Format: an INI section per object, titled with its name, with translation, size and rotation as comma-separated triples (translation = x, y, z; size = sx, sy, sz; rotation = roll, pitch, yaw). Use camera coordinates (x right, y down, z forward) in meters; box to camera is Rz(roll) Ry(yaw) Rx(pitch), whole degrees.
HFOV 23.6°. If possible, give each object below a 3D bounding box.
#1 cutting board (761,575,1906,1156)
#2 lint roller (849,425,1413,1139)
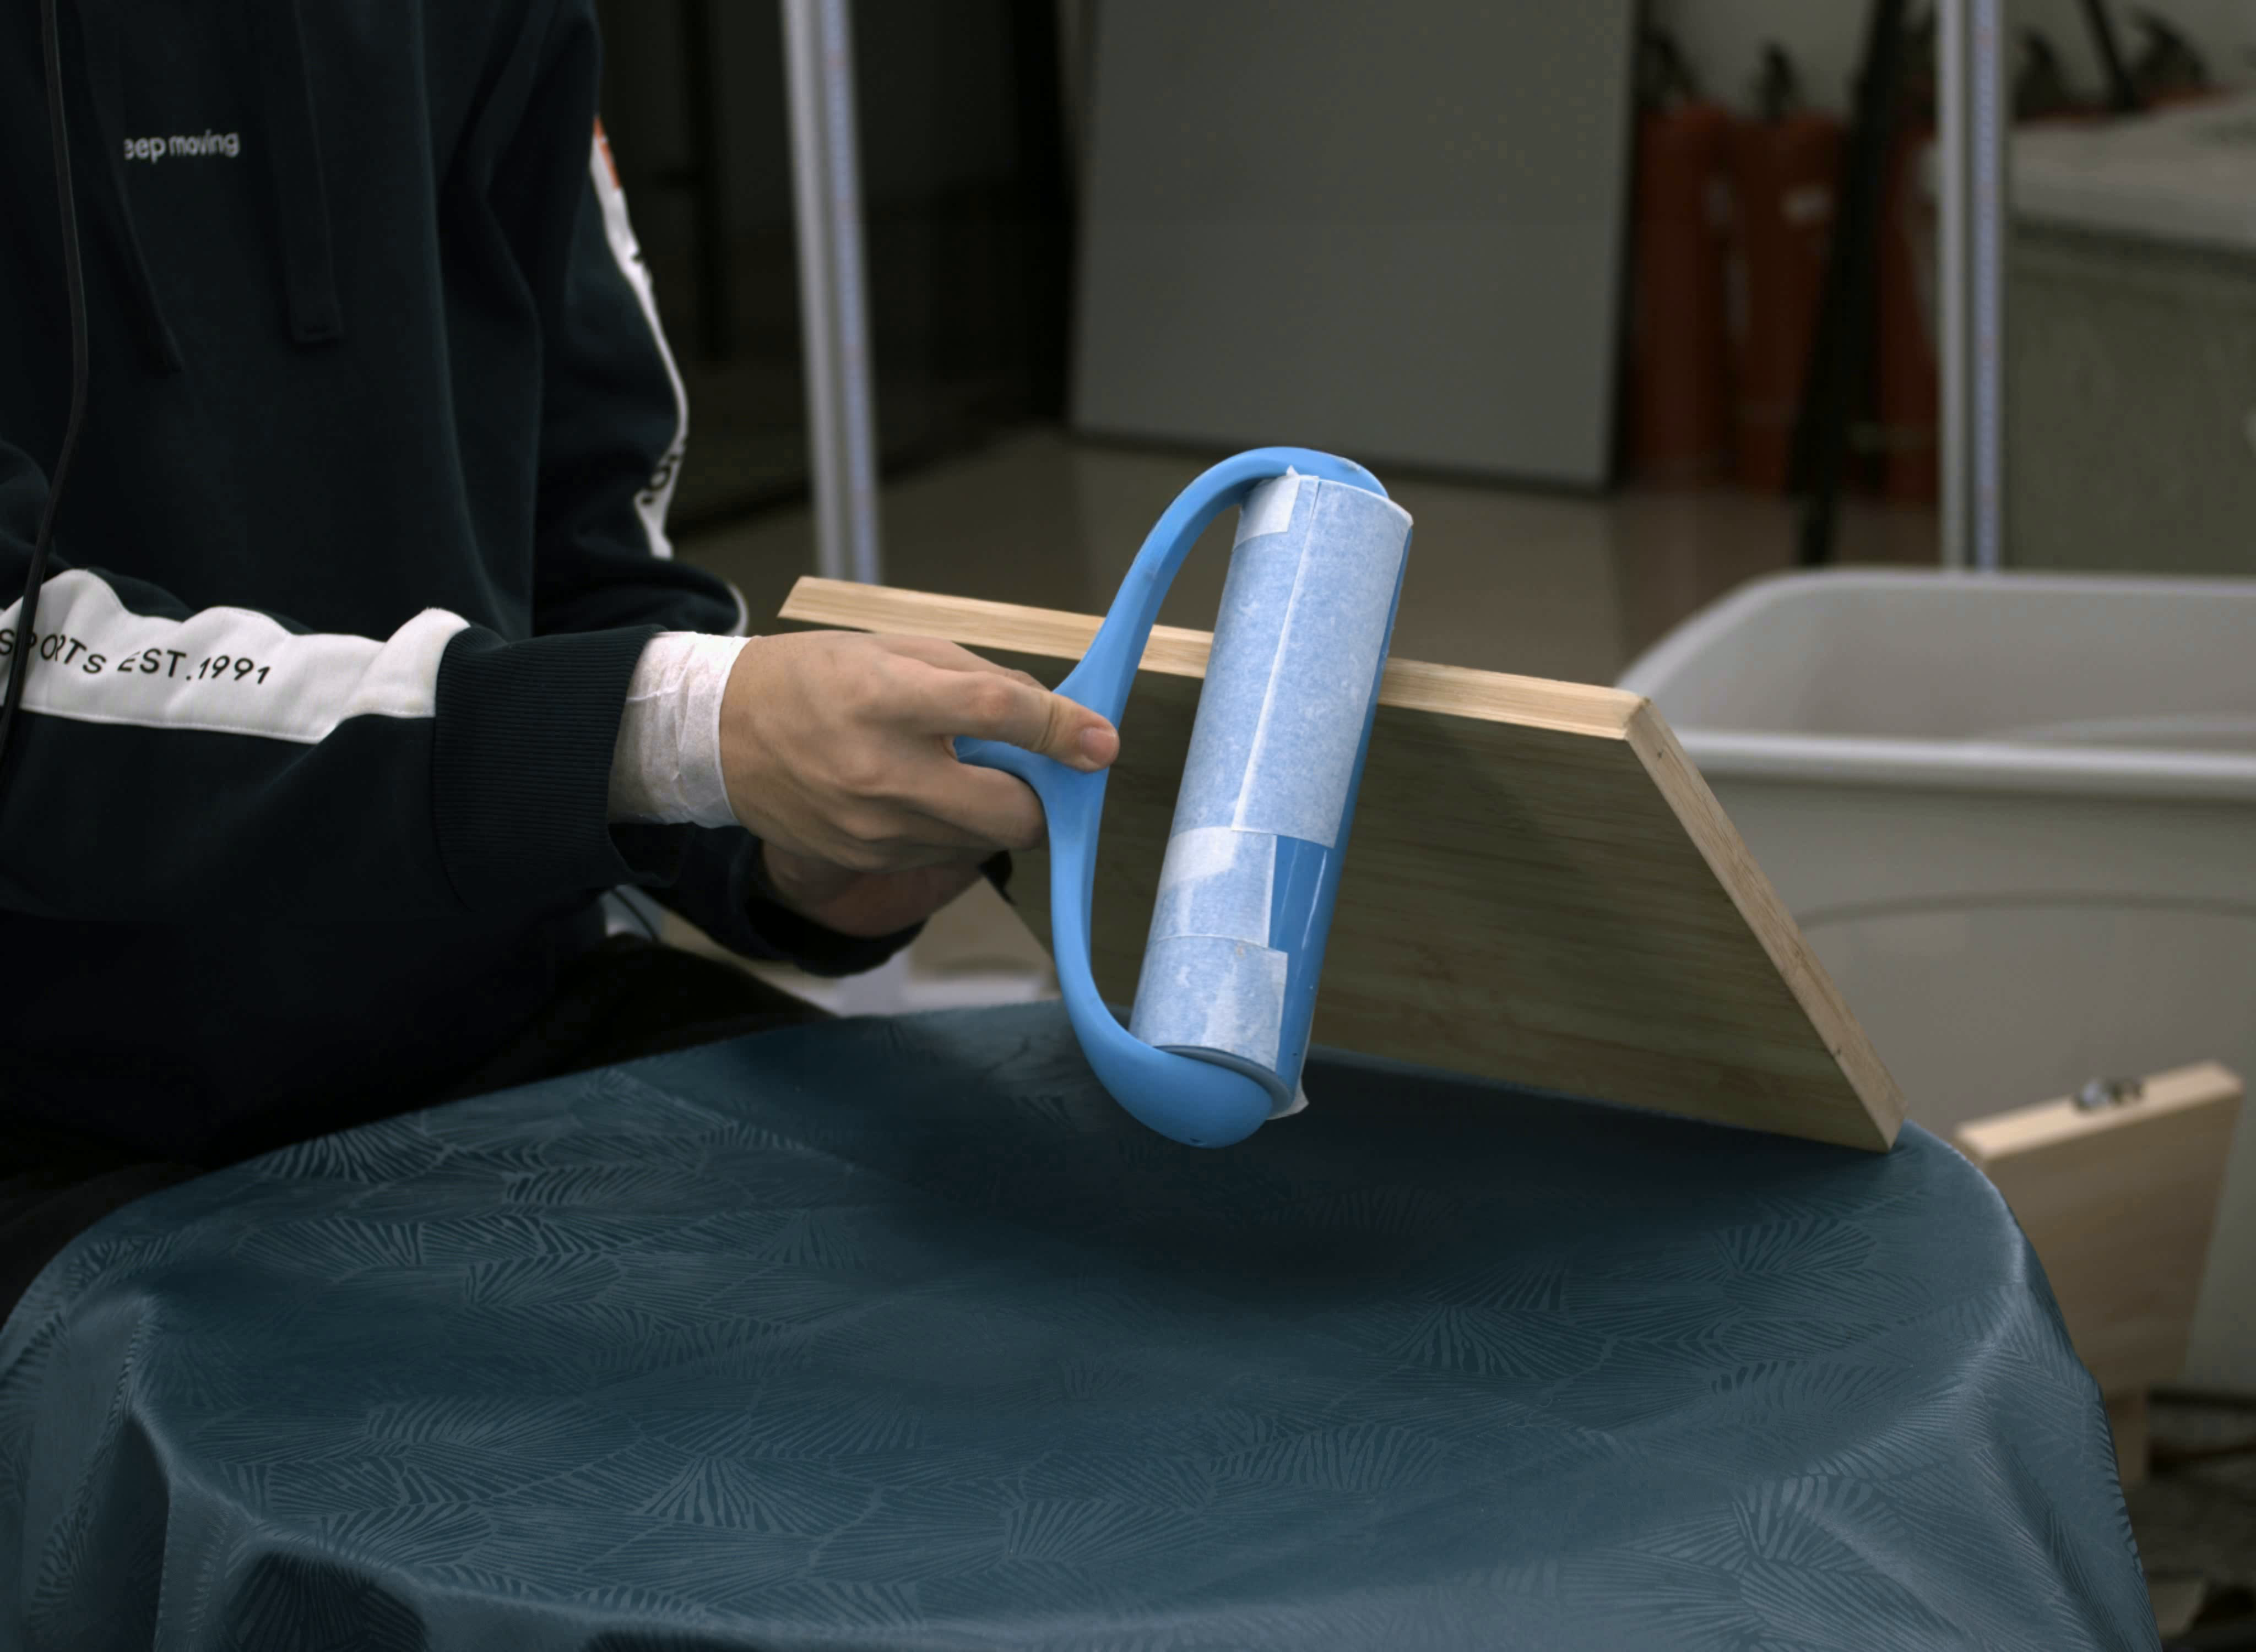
[cutting board]
translation = 0.066, 0.011, 1.786
size = 0.351, 0.248, 0.023
rotation = 9, 60, 37
[lint roller]
translation = -0.012, -0.015, 1.642
size = 0.180, 0.231, 0.067
rotation = 0, -25, 21
